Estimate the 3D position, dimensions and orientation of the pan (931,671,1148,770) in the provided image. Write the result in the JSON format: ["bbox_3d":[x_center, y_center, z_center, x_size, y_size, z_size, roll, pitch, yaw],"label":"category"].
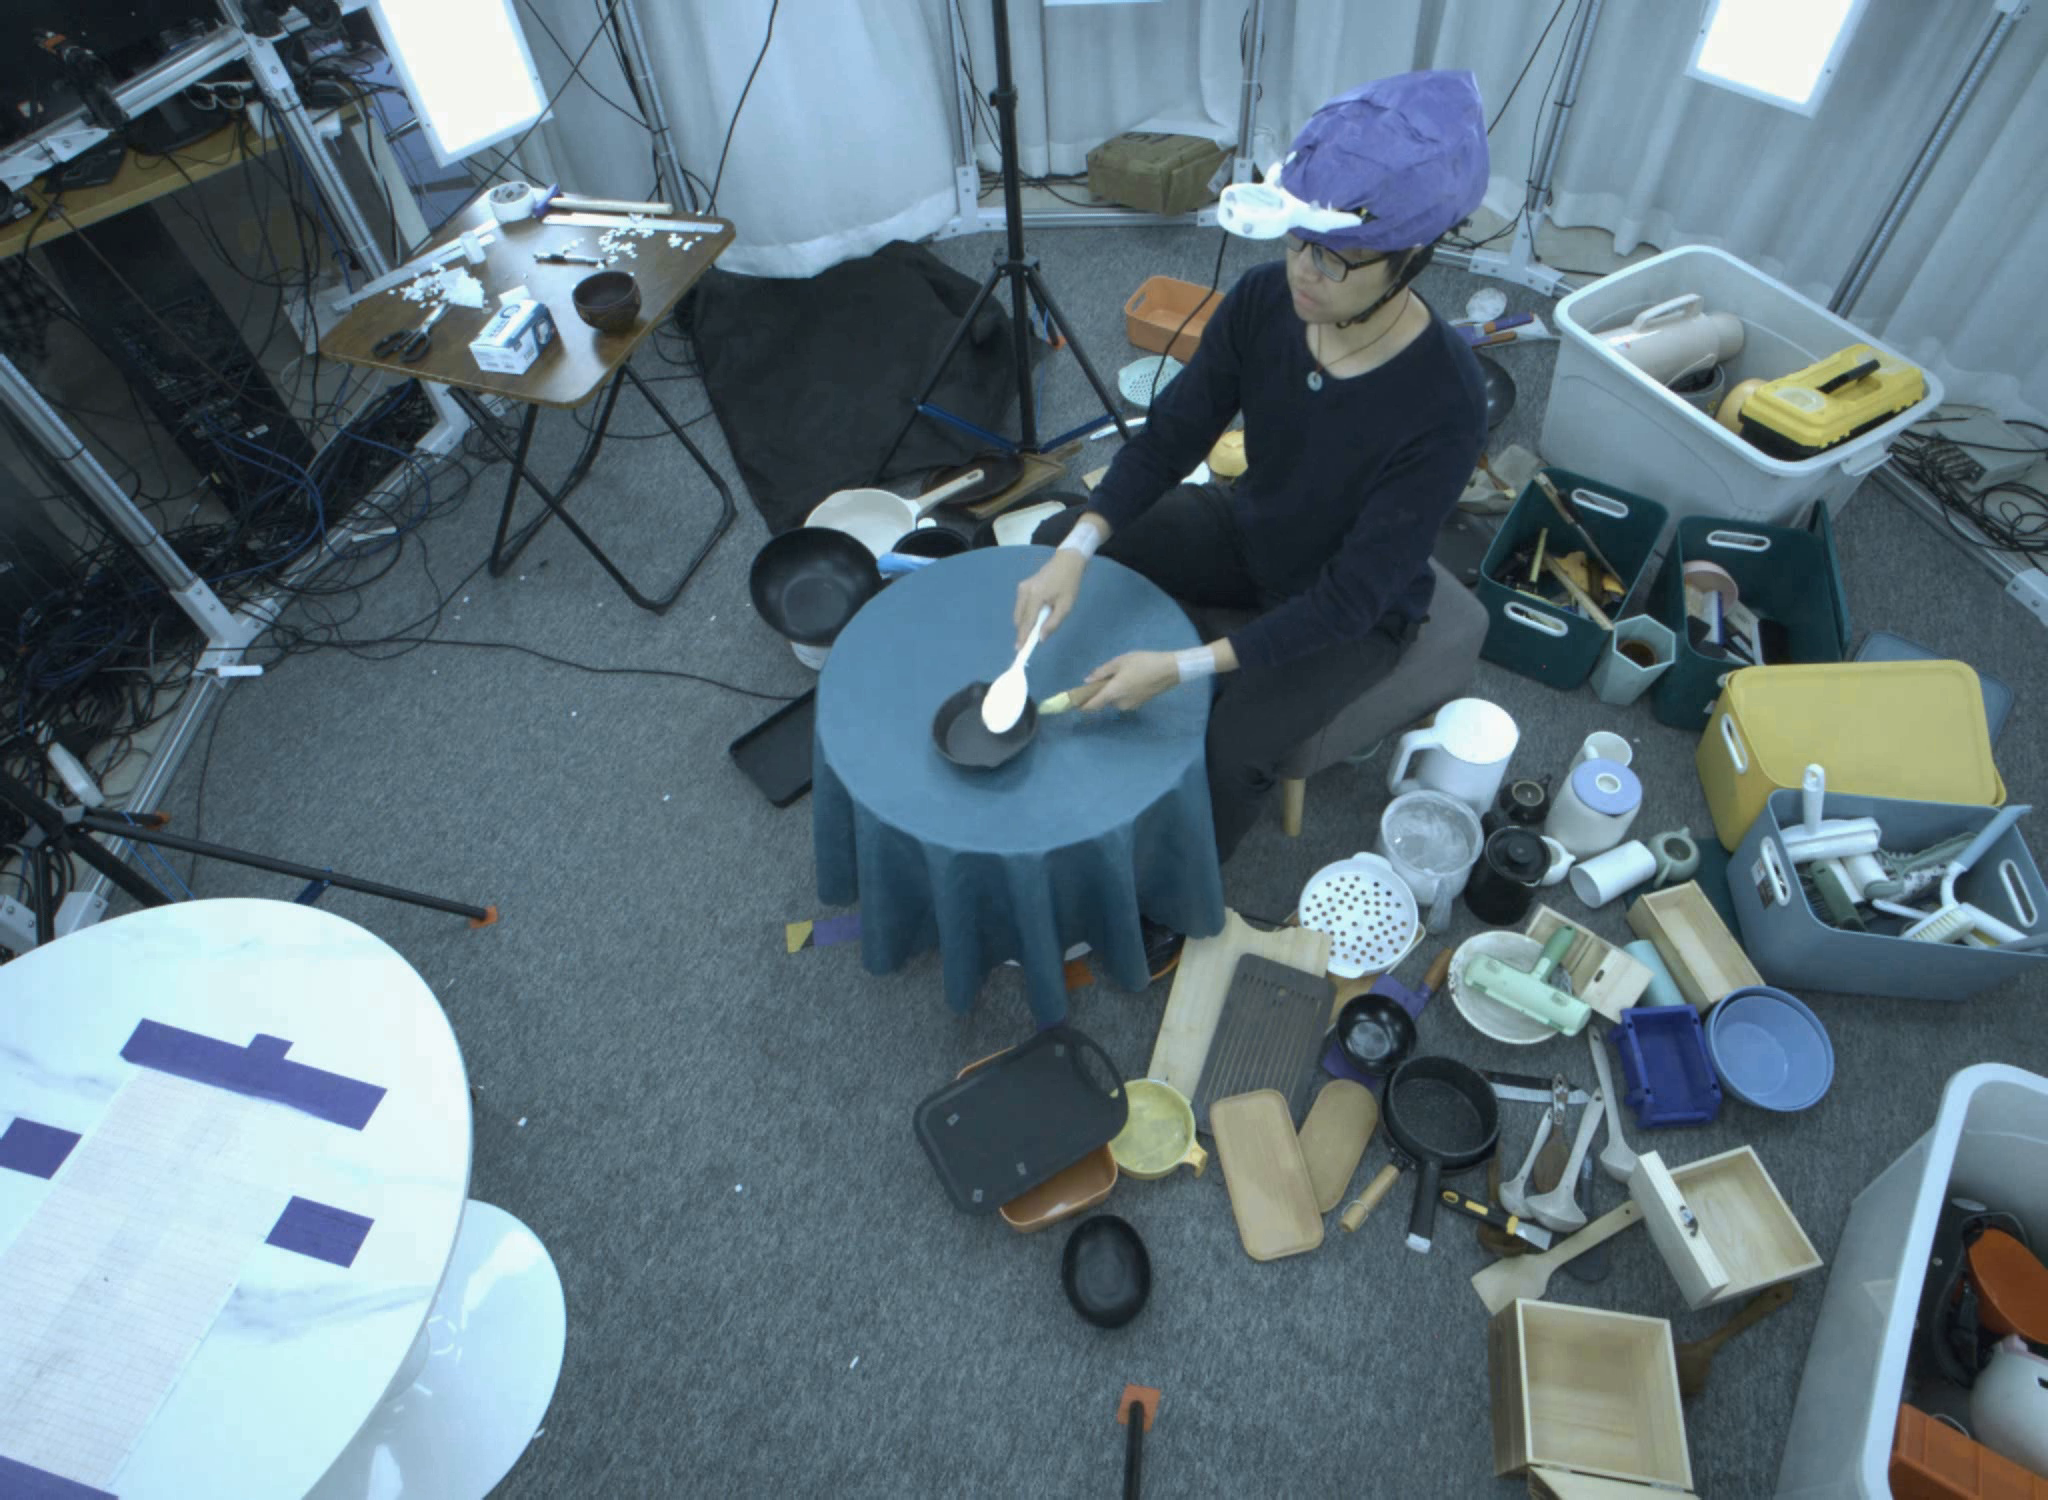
[{"bbox_3d":[0.025,-0.056,1.777,0.324,0.050,0.166,-14,52,1],"label":"pan"}]

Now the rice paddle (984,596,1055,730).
[{"bbox_3d":[-0.006,-0.124,1.777,0.067,0.030,0.205,19,84,34],"label":"rice paddle"}]
